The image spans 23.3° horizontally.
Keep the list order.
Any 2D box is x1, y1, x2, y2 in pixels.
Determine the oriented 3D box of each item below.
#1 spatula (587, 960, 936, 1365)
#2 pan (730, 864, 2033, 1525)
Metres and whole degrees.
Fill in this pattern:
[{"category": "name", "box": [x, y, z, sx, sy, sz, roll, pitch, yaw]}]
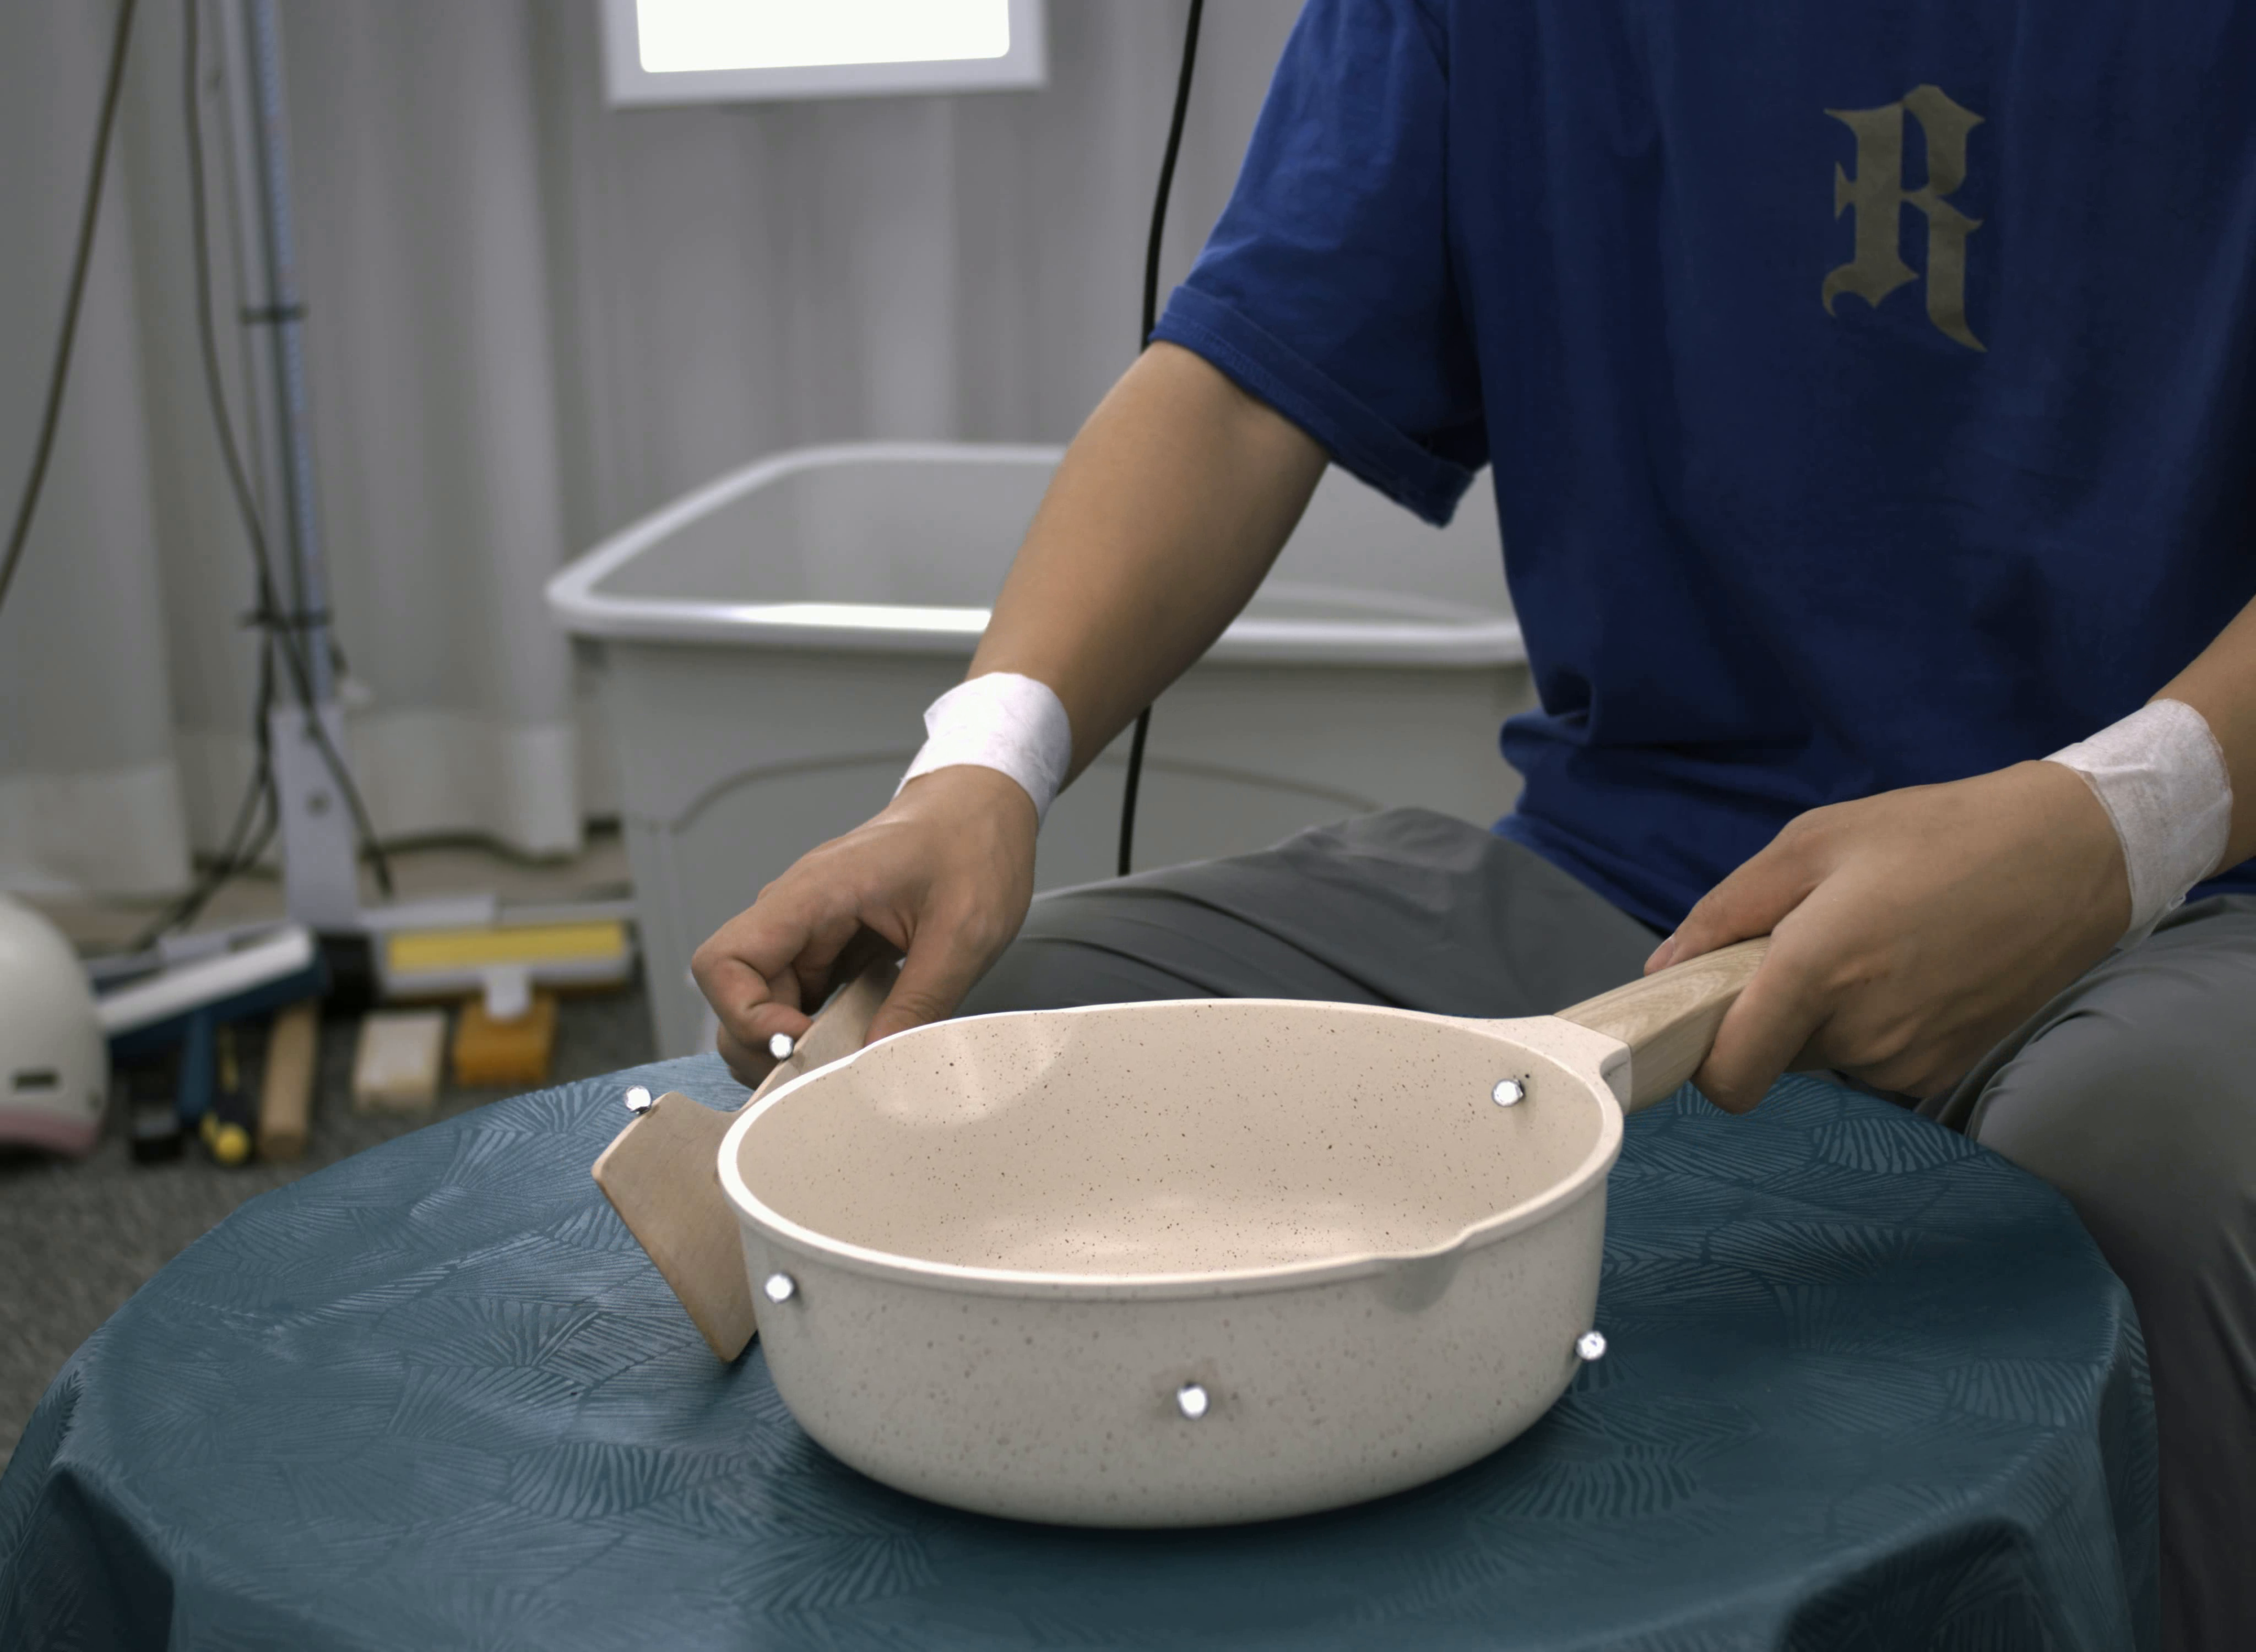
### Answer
[{"category": "spatula", "box": [-0.106, 0.091, 1.705, 0.010, 0.072, 0.294, -35, 5, 19]}, {"category": "pan", "box": [0.094, 0.099, 1.559, 0.433, 0.101, 0.265, -12, 15, -31]}]
